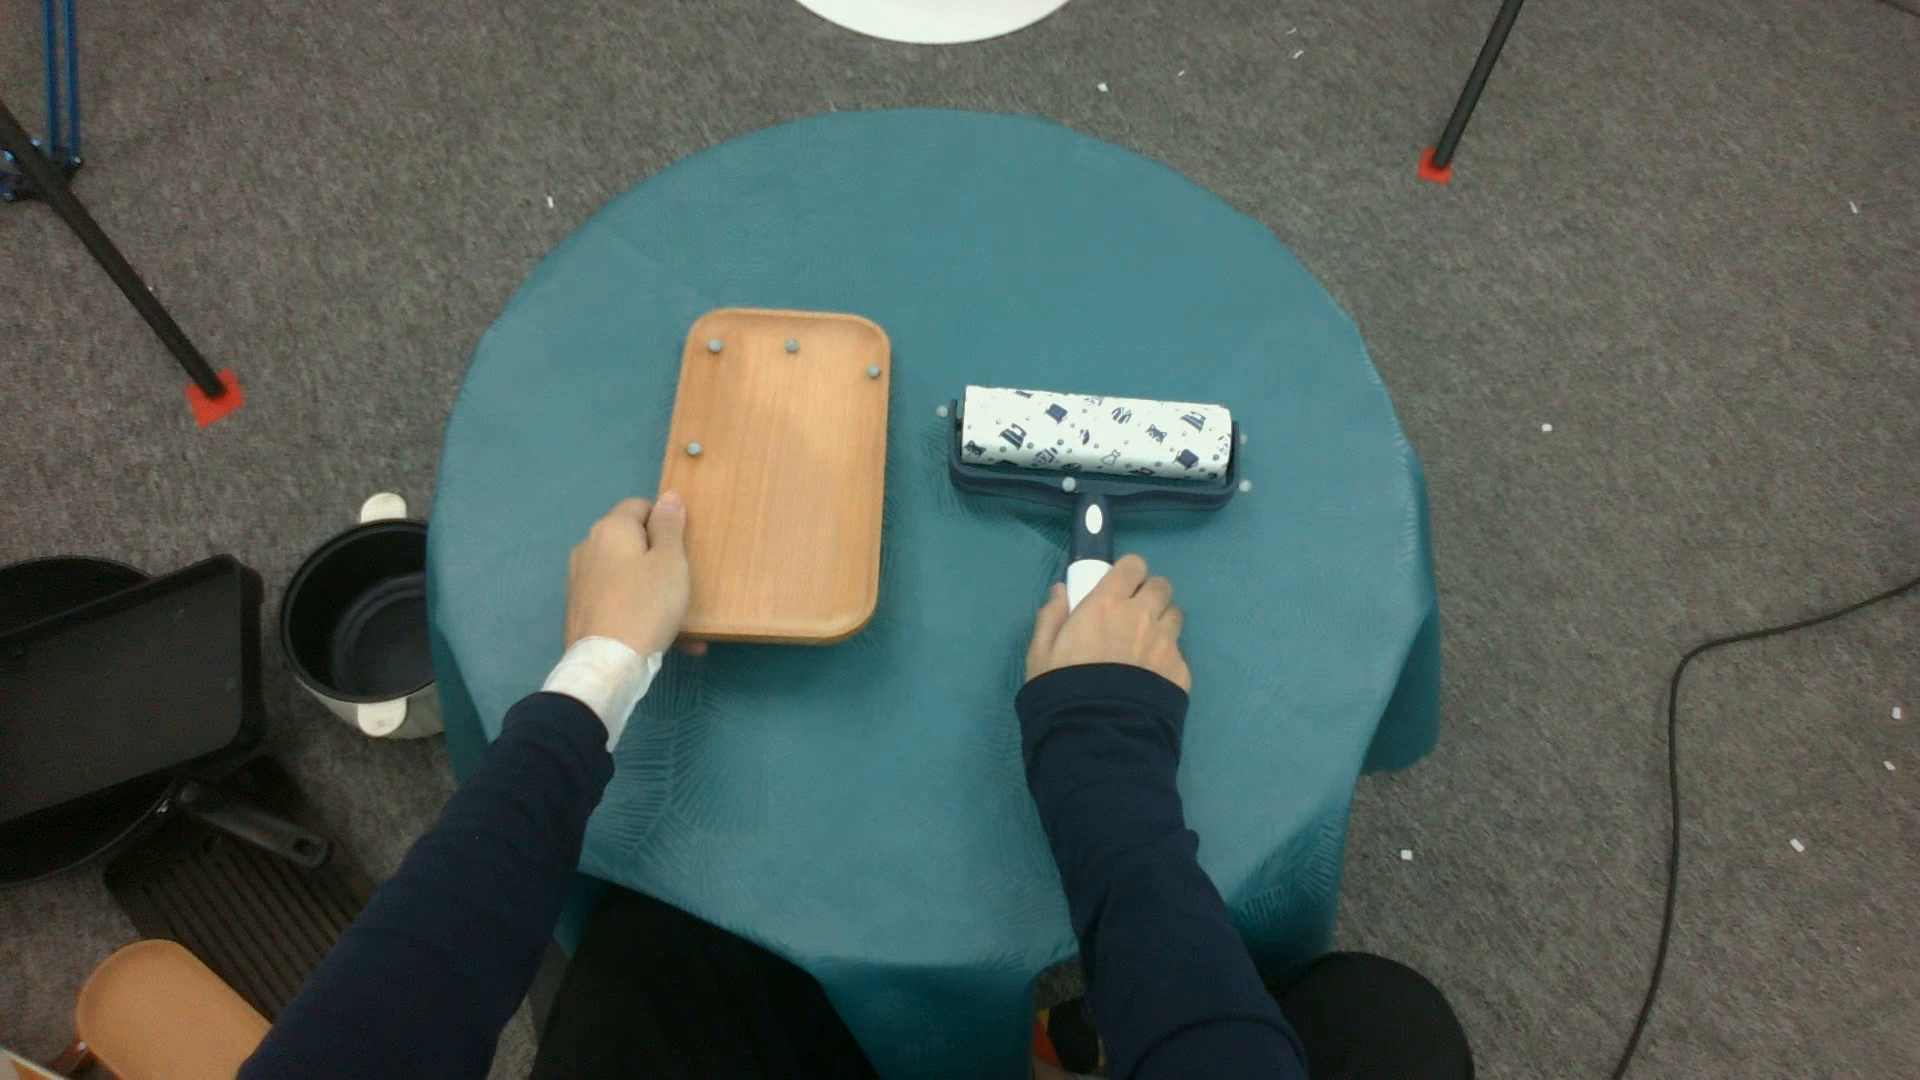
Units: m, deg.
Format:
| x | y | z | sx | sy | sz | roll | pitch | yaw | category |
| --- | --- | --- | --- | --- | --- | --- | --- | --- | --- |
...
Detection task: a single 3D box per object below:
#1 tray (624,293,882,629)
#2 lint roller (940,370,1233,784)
| x | y | z | sx | sy | sz | roll | pitch | yaw | category |
| --- | --- | --- | --- | --- | --- | --- | --- | --- | --- |
| -0.114 | -0.053 | 0.802 | 0.130 | 0.023 | 0.252 | 1 | 53 | 1 | tray |
| 0.074 | 0.015 | 0.785 | 0.176 | 0.050 | 0.248 | 3 | 62 | -4 | lint roller |
